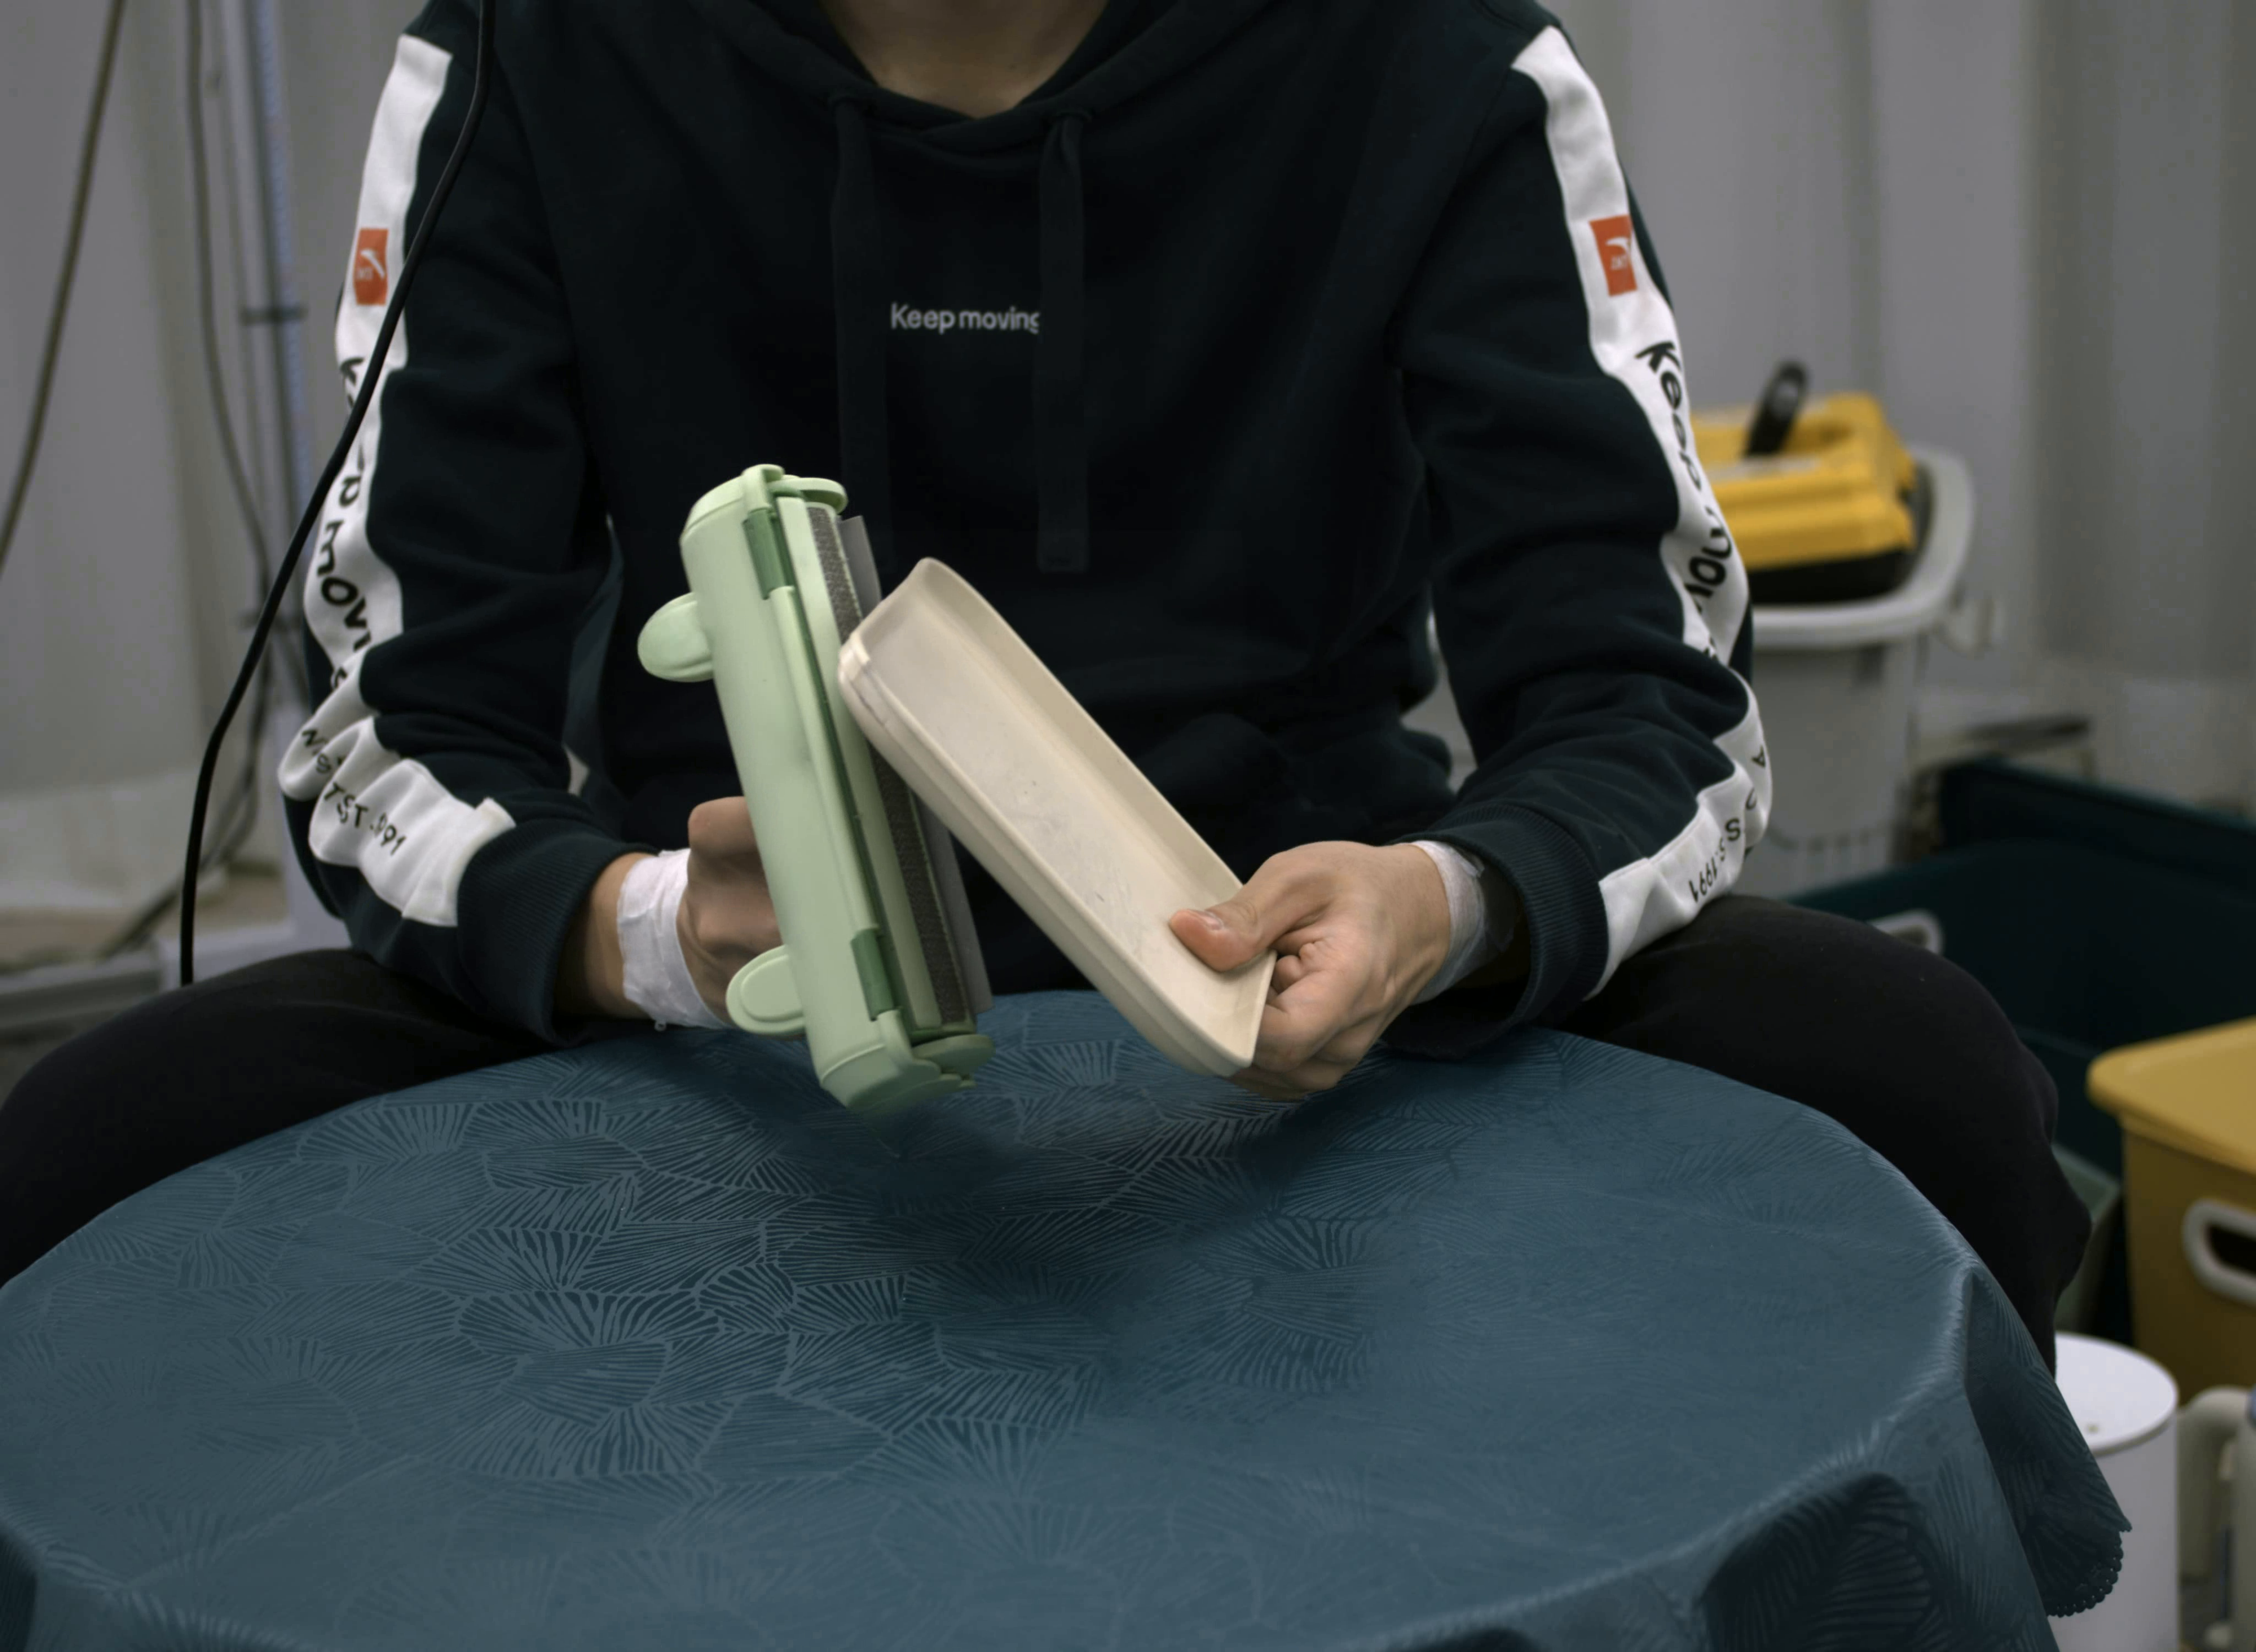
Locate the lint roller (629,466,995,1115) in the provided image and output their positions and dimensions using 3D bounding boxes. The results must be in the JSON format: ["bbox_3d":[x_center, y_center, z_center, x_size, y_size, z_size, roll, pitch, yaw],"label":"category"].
[{"bbox_3d":[-0.108,0.009,1.710,0.082,0.201,0.182,-11,-18,-17],"label":"lint roller"}]

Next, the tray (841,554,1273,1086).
[{"bbox_3d":[-0.021,-0.003,1.658,0.017,0.171,0.240,-41,4,9],"label":"tray"}]
